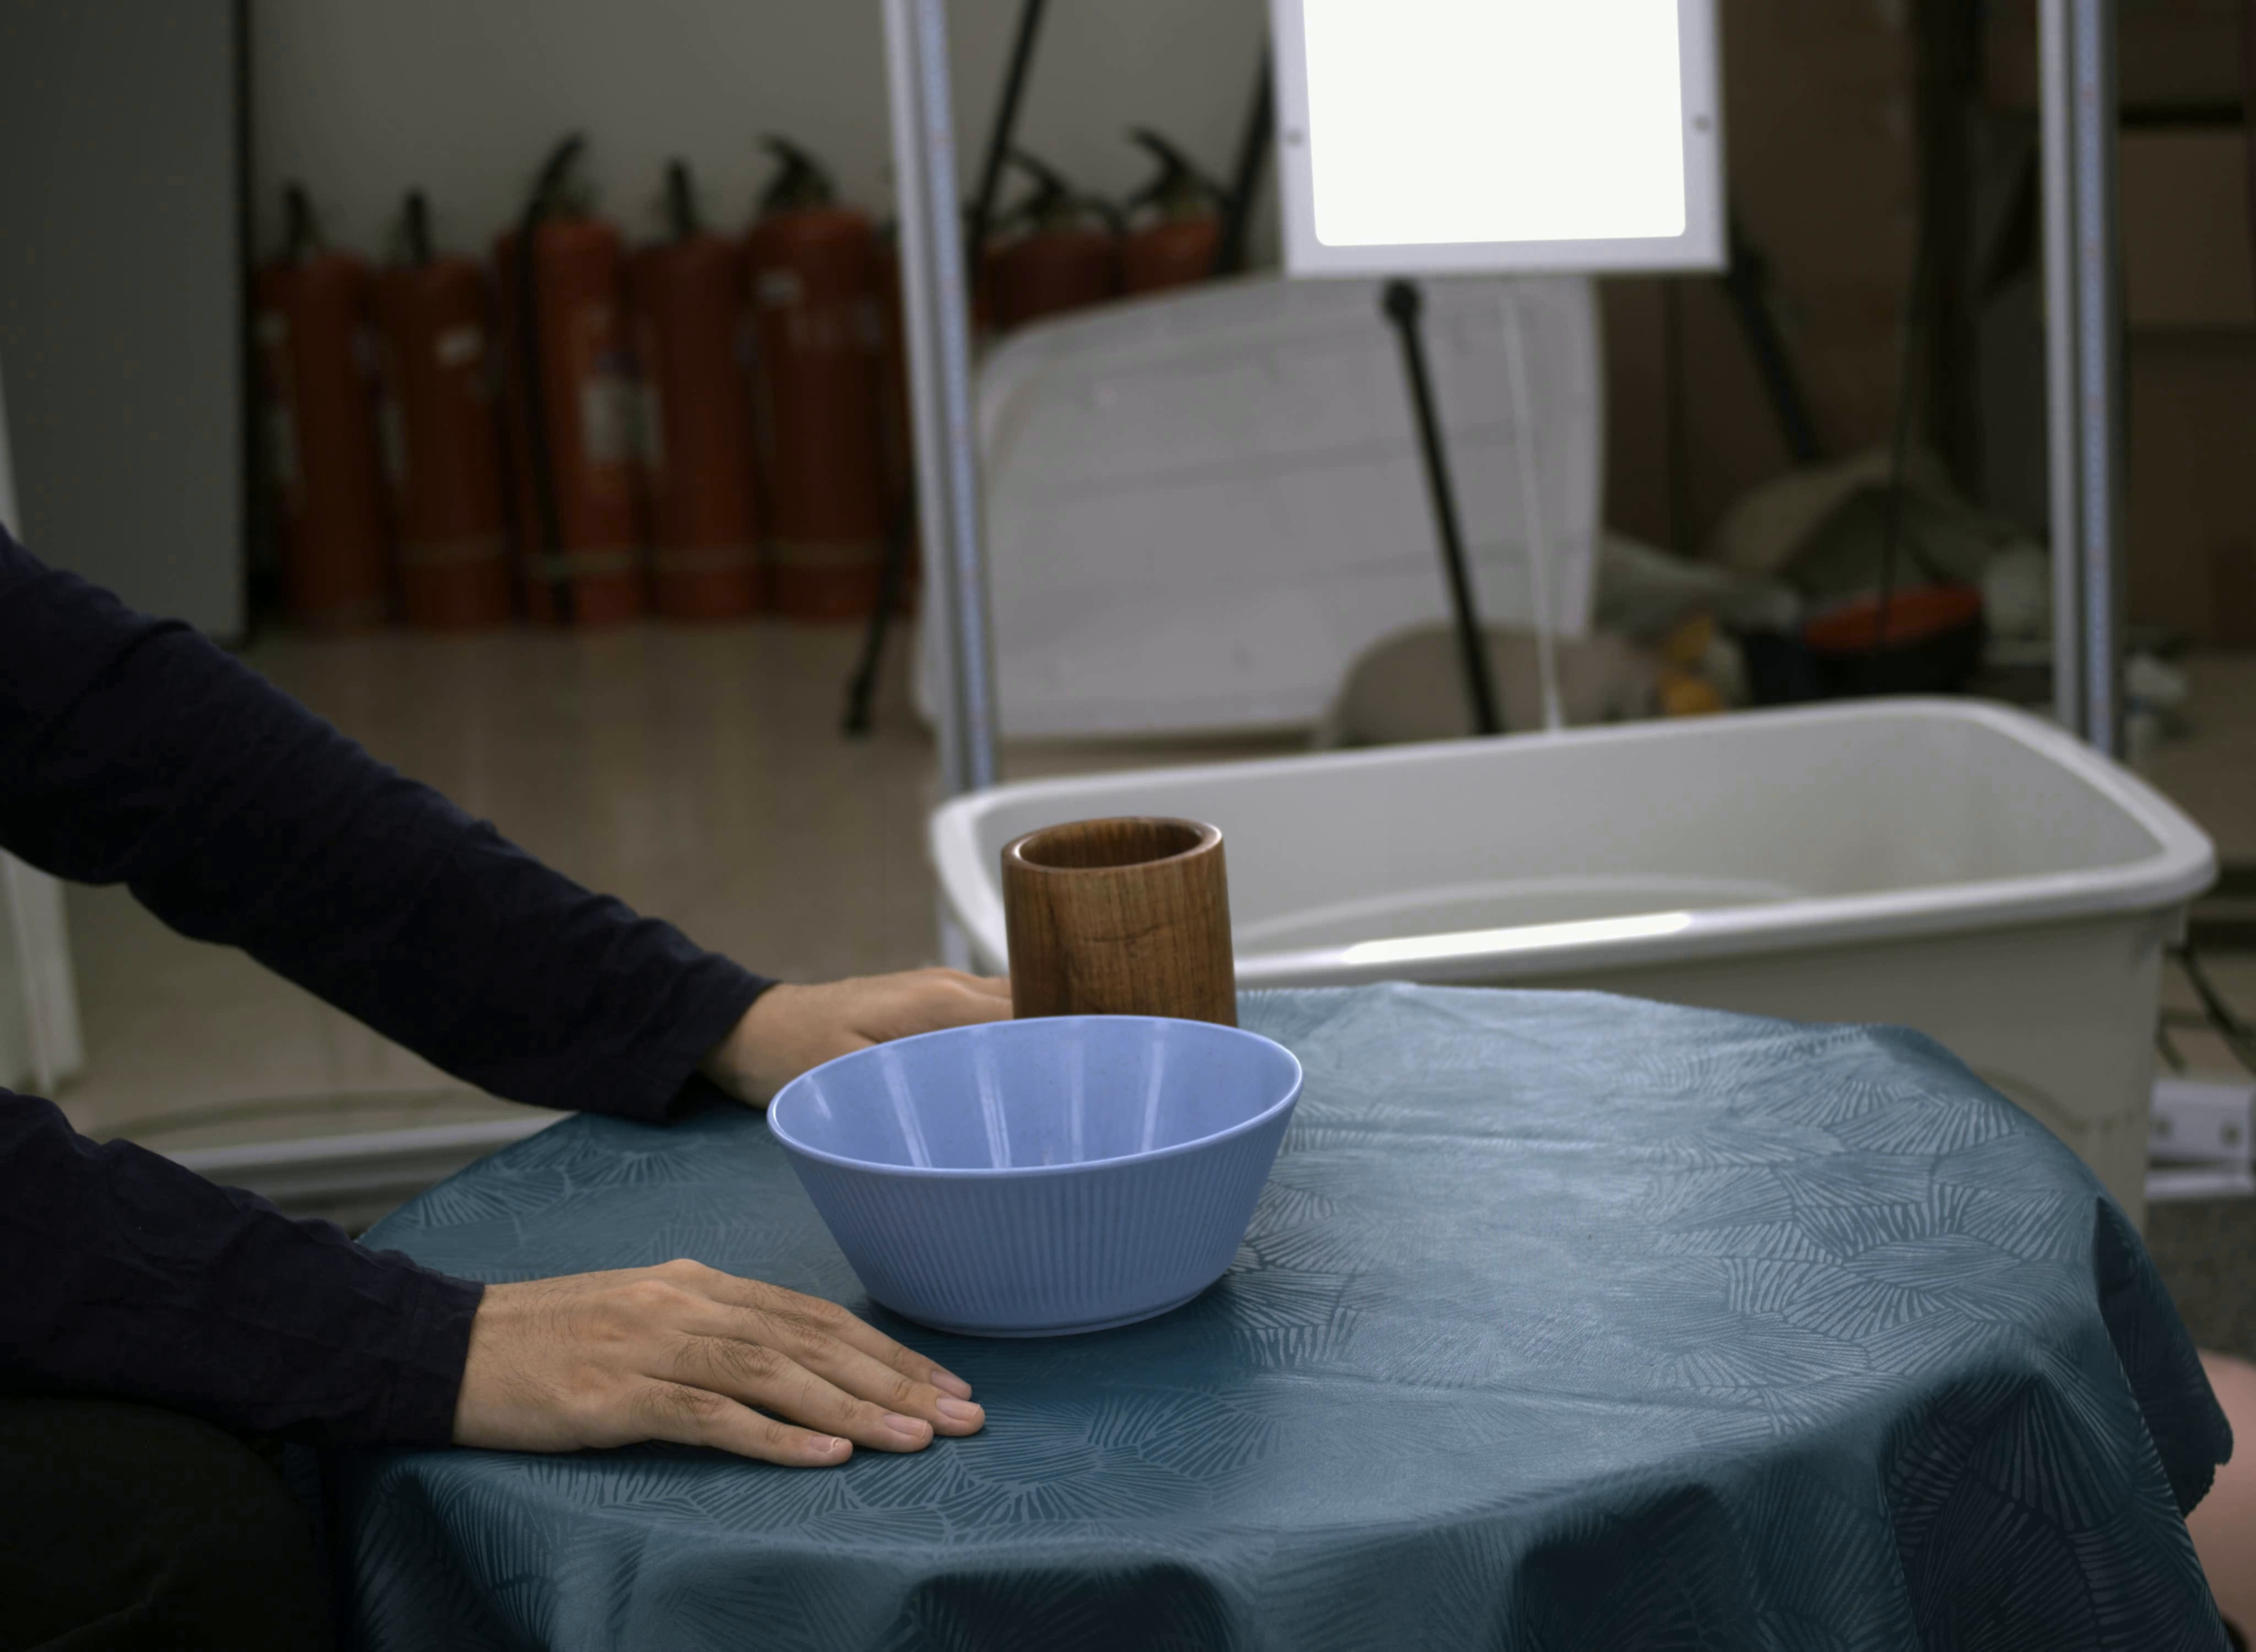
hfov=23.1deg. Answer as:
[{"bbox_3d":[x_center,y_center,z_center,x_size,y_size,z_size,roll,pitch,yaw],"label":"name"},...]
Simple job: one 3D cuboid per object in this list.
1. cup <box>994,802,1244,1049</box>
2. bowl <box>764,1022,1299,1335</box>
[{"bbox_3d":[-0.001,0.057,1.938,0.087,0.119,0.087,-7,12,0],"label":"cup"},{"bbox_3d":[-0.029,0.117,1.799,0.175,0.070,0.176,-6,13,0],"label":"bowl"}]
